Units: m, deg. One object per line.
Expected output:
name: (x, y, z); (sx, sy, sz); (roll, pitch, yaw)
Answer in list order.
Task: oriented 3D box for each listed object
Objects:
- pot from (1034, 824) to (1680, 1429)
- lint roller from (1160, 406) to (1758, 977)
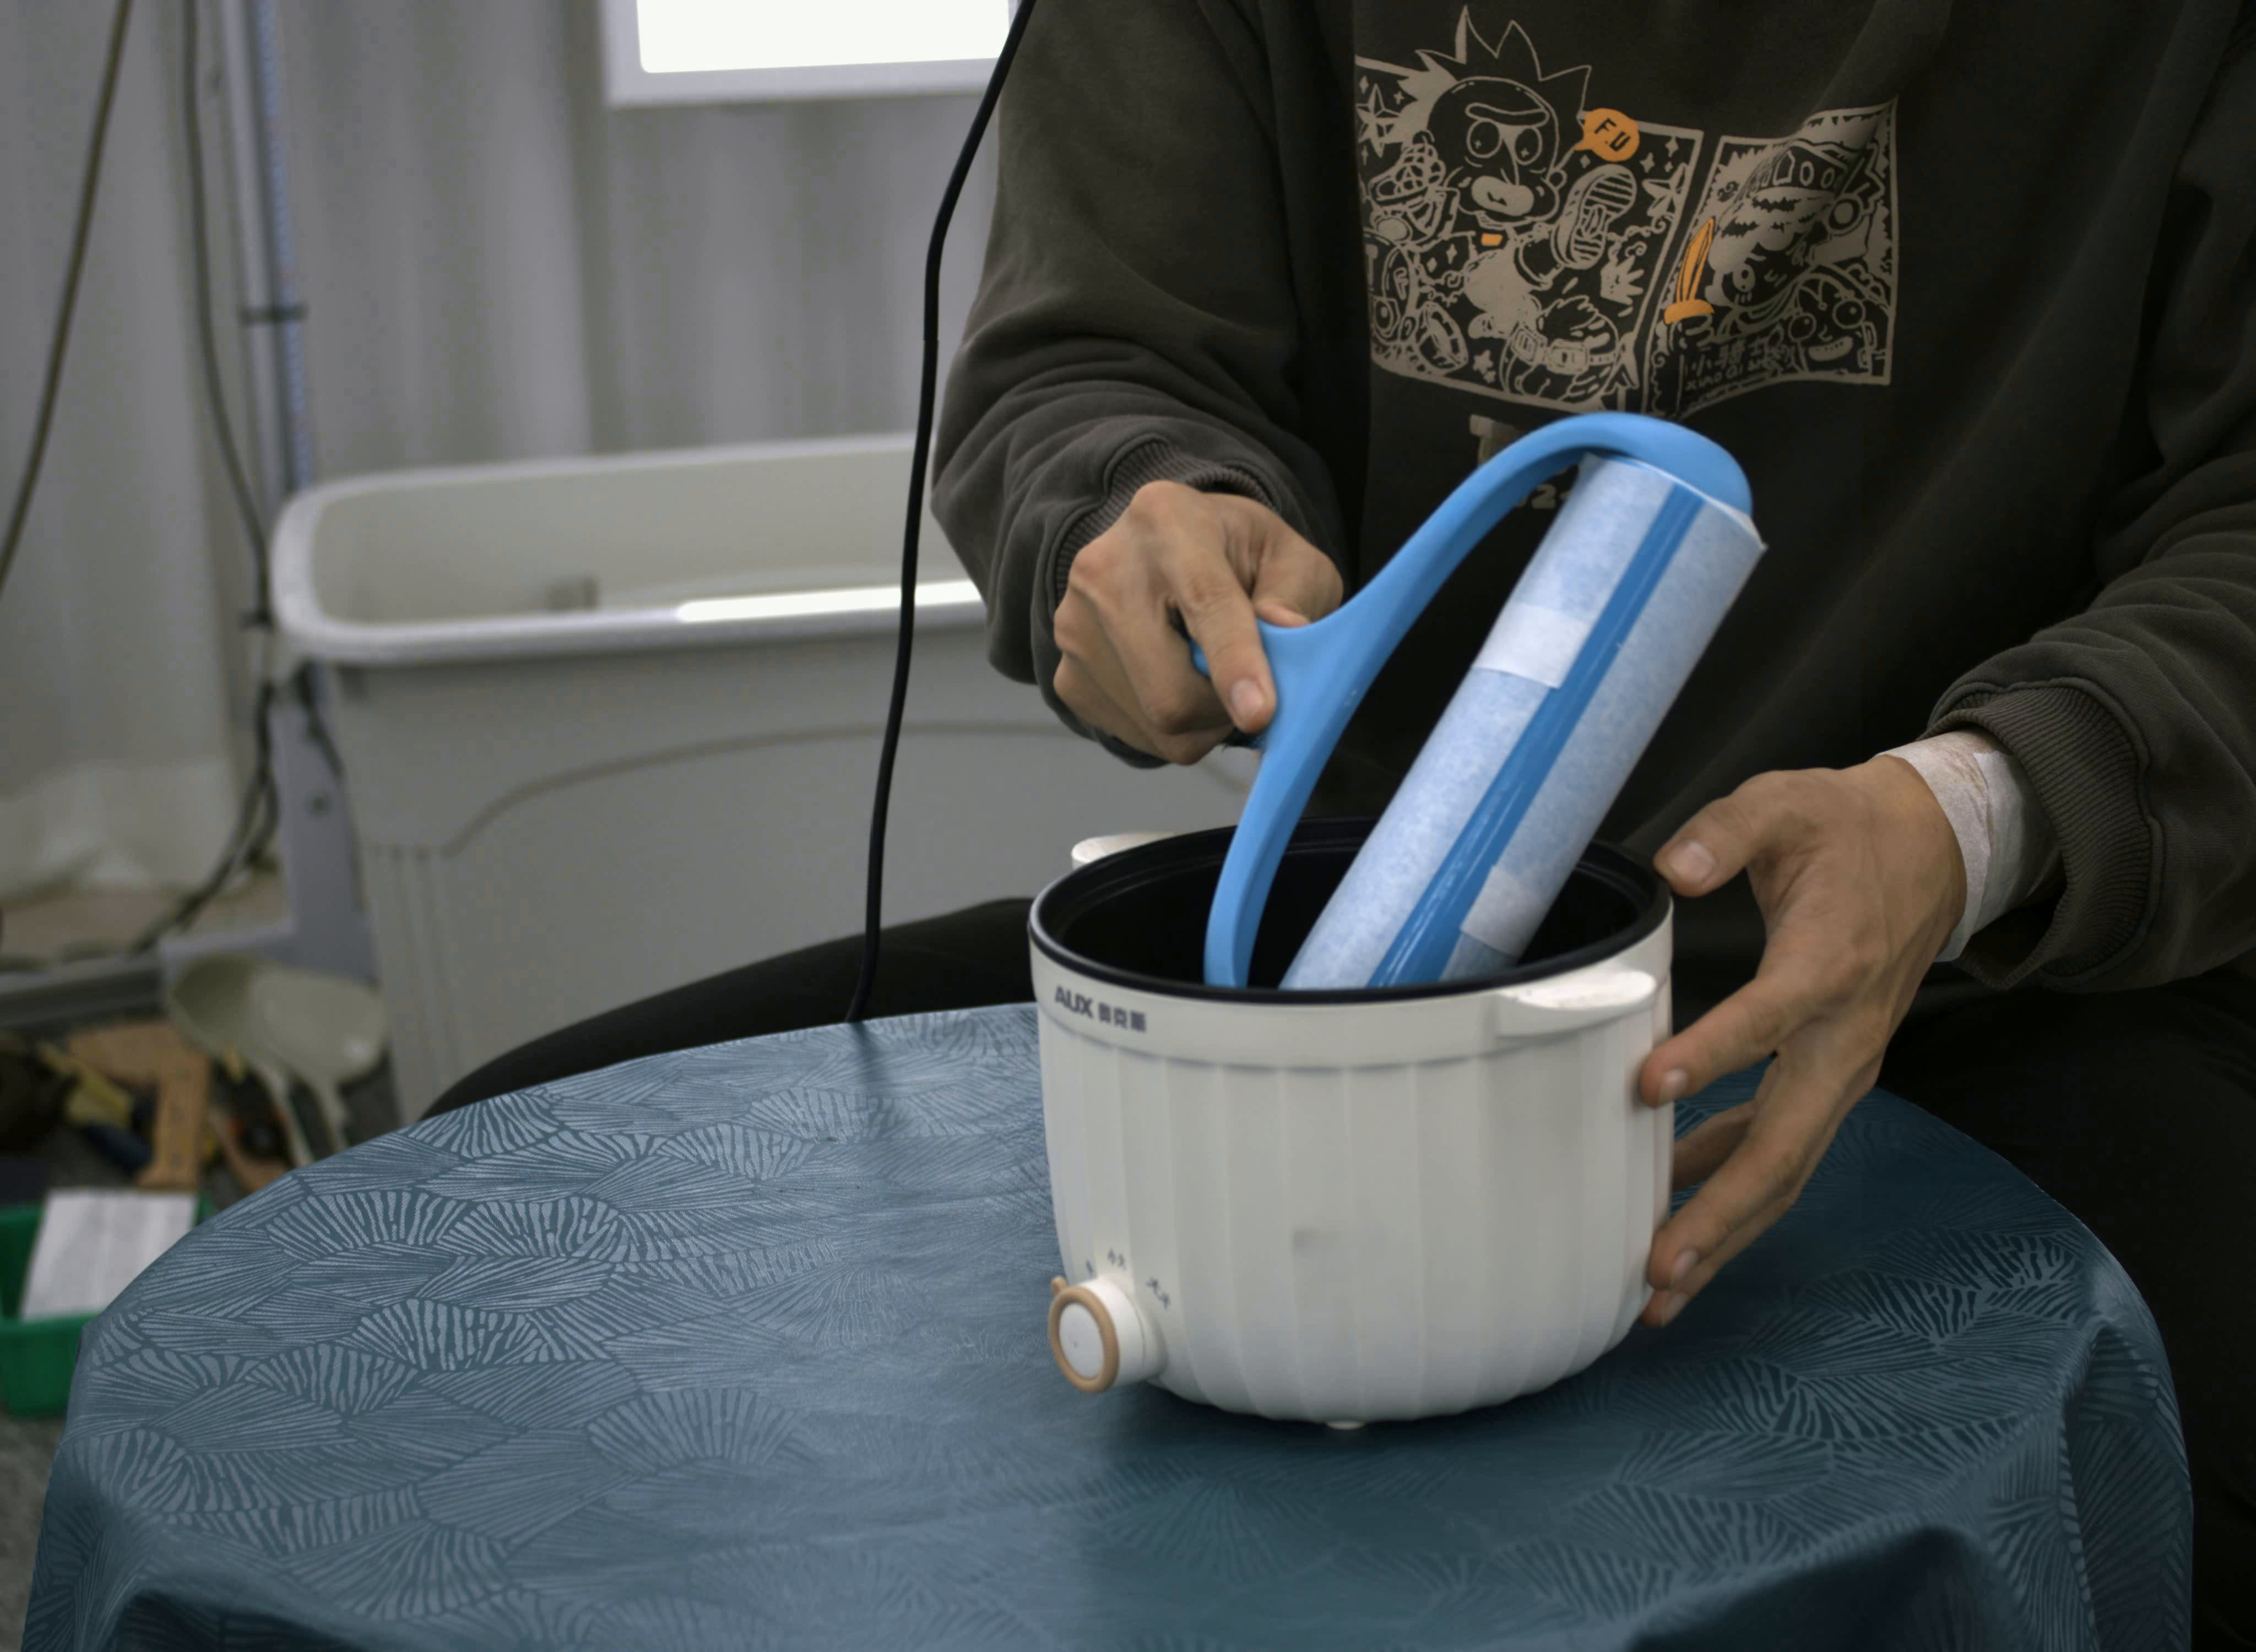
pot: (0.063, 0.086, 1.551); (0.190, 0.142, 0.242); (-10, 15, -36)
lint roller: (0.064, -0.030, 1.574); (0.181, 0.230, 0.067); (23, -8, 38)
